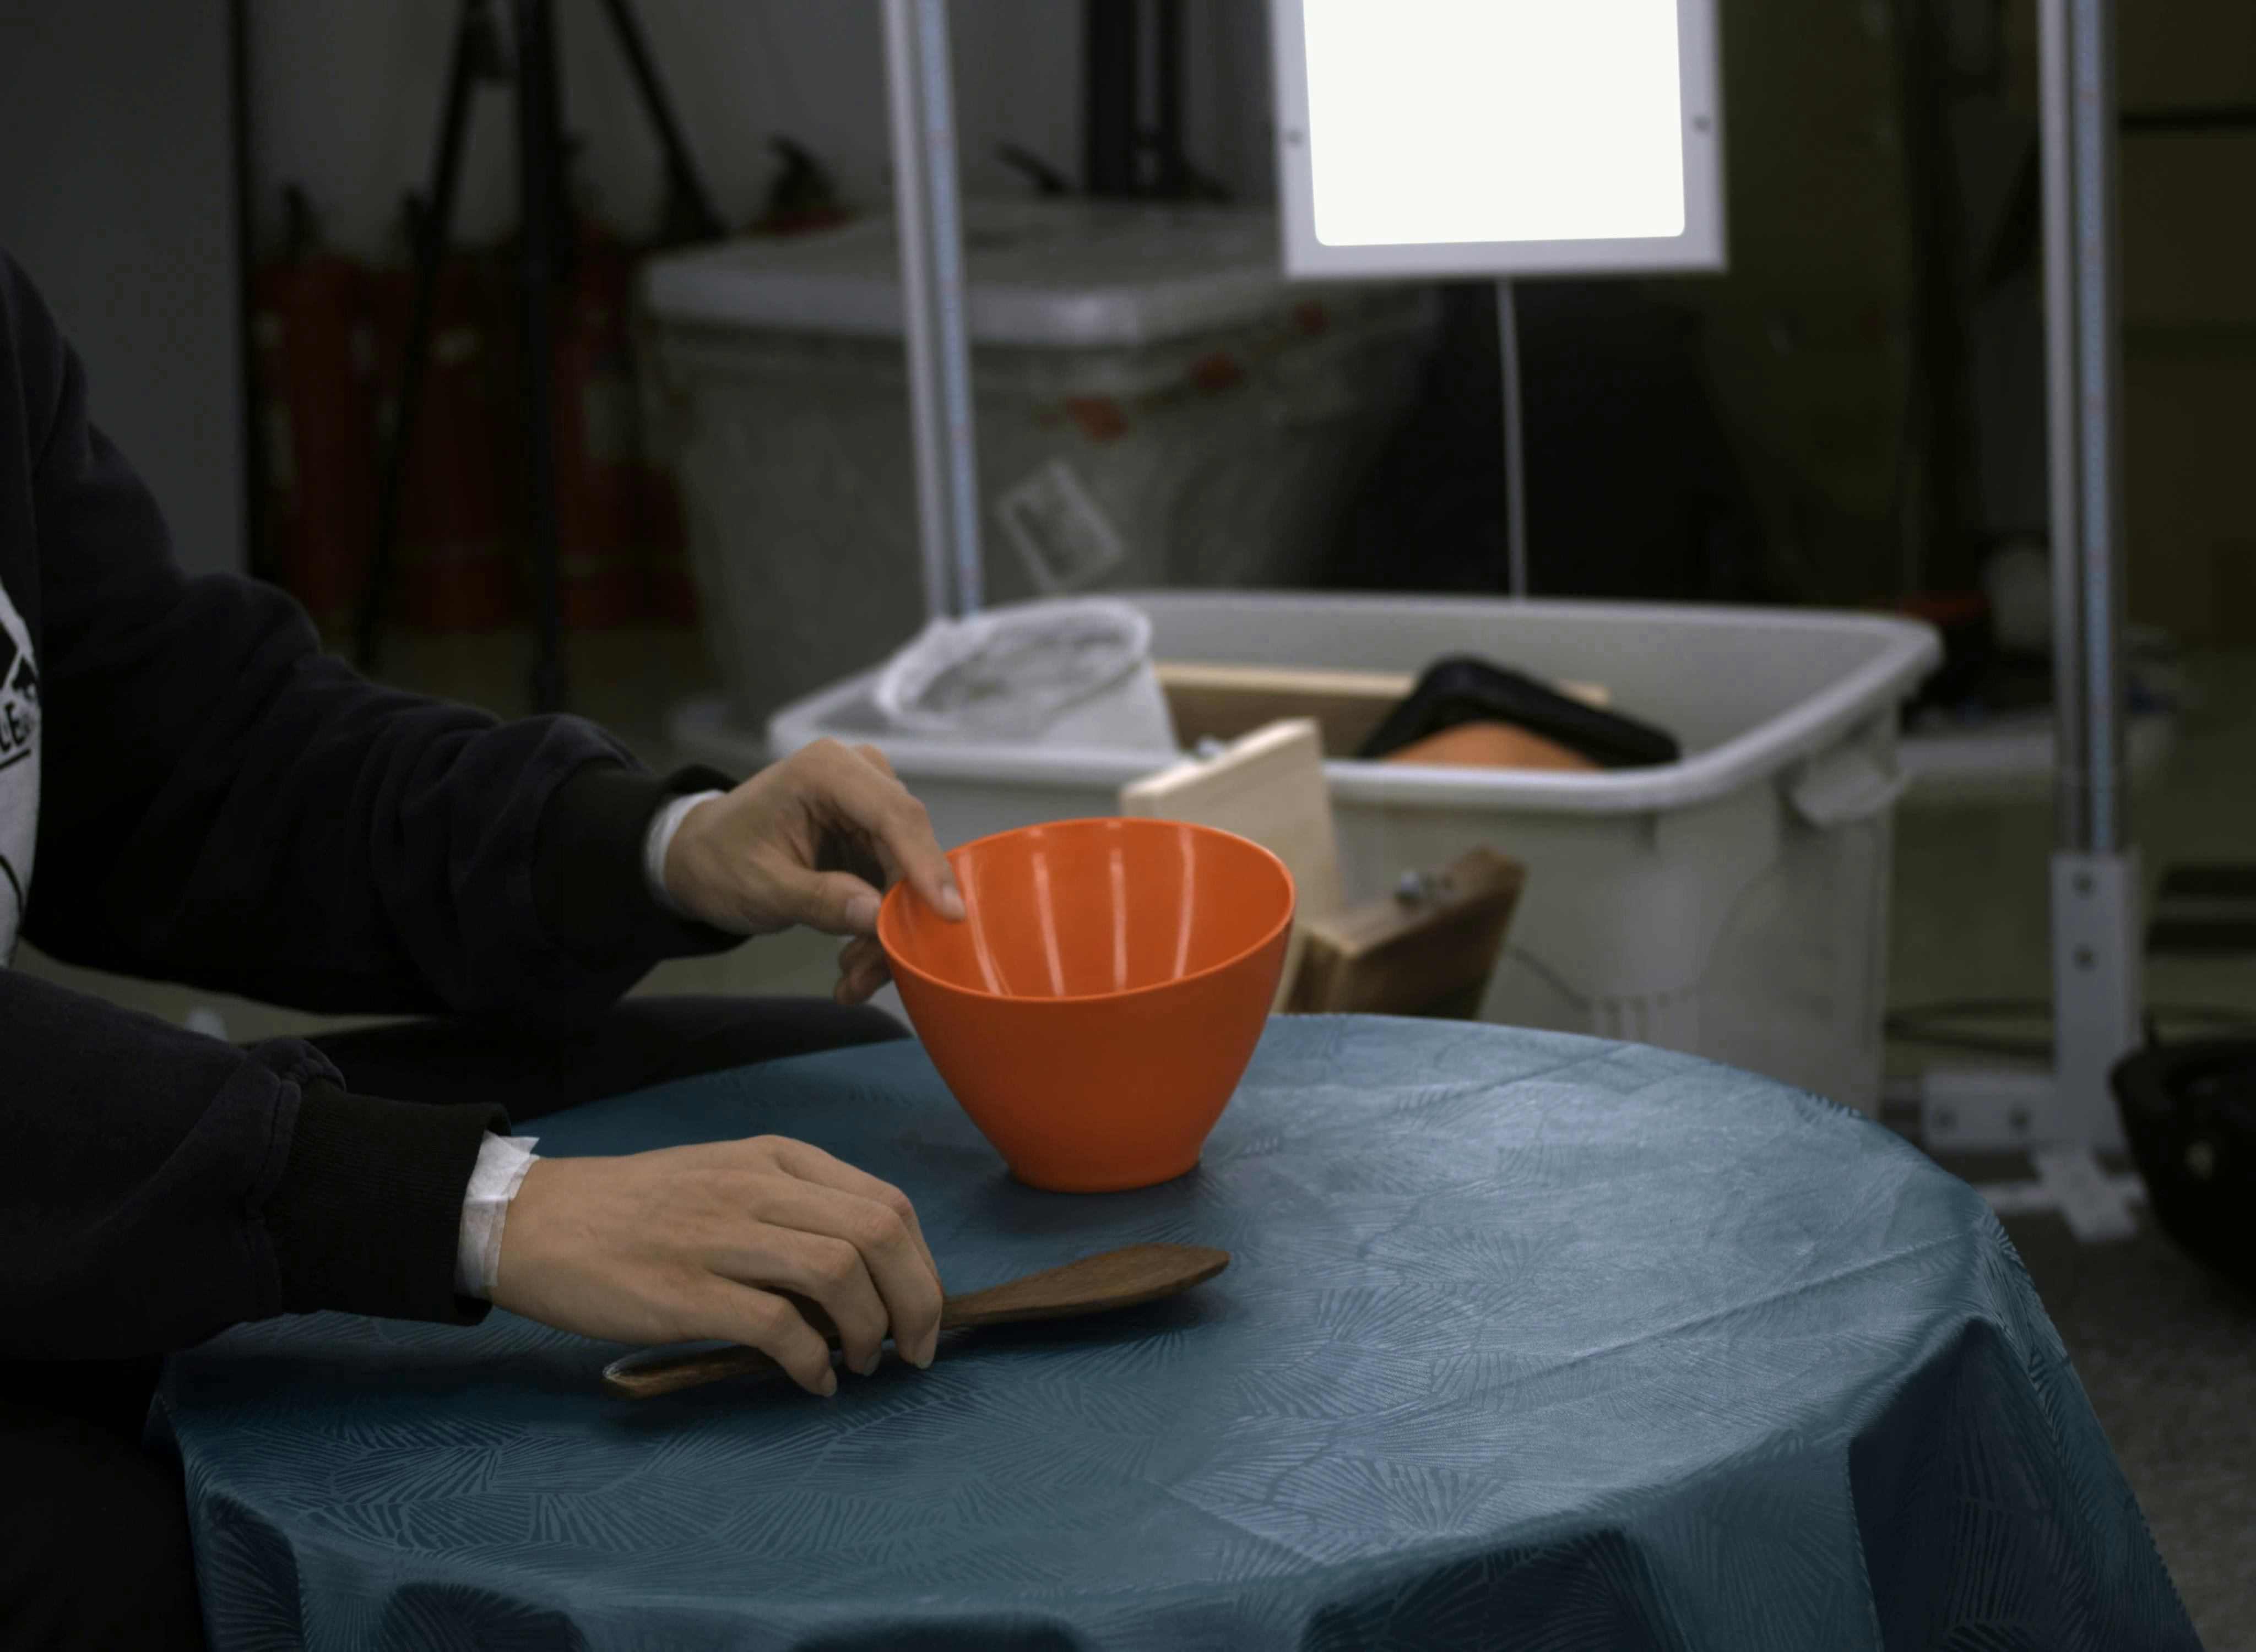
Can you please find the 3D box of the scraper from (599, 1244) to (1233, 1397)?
[{"bbox_3d":[-0.069,0.158,1.748,0.207,0.011,0.077,-10,5,-26],"label":"scraper"}]

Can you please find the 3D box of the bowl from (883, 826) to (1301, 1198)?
[{"bbox_3d":[-0.010,0.068,1.928,0.147,0.105,0.148,-5,14,0],"label":"bowl"}]
